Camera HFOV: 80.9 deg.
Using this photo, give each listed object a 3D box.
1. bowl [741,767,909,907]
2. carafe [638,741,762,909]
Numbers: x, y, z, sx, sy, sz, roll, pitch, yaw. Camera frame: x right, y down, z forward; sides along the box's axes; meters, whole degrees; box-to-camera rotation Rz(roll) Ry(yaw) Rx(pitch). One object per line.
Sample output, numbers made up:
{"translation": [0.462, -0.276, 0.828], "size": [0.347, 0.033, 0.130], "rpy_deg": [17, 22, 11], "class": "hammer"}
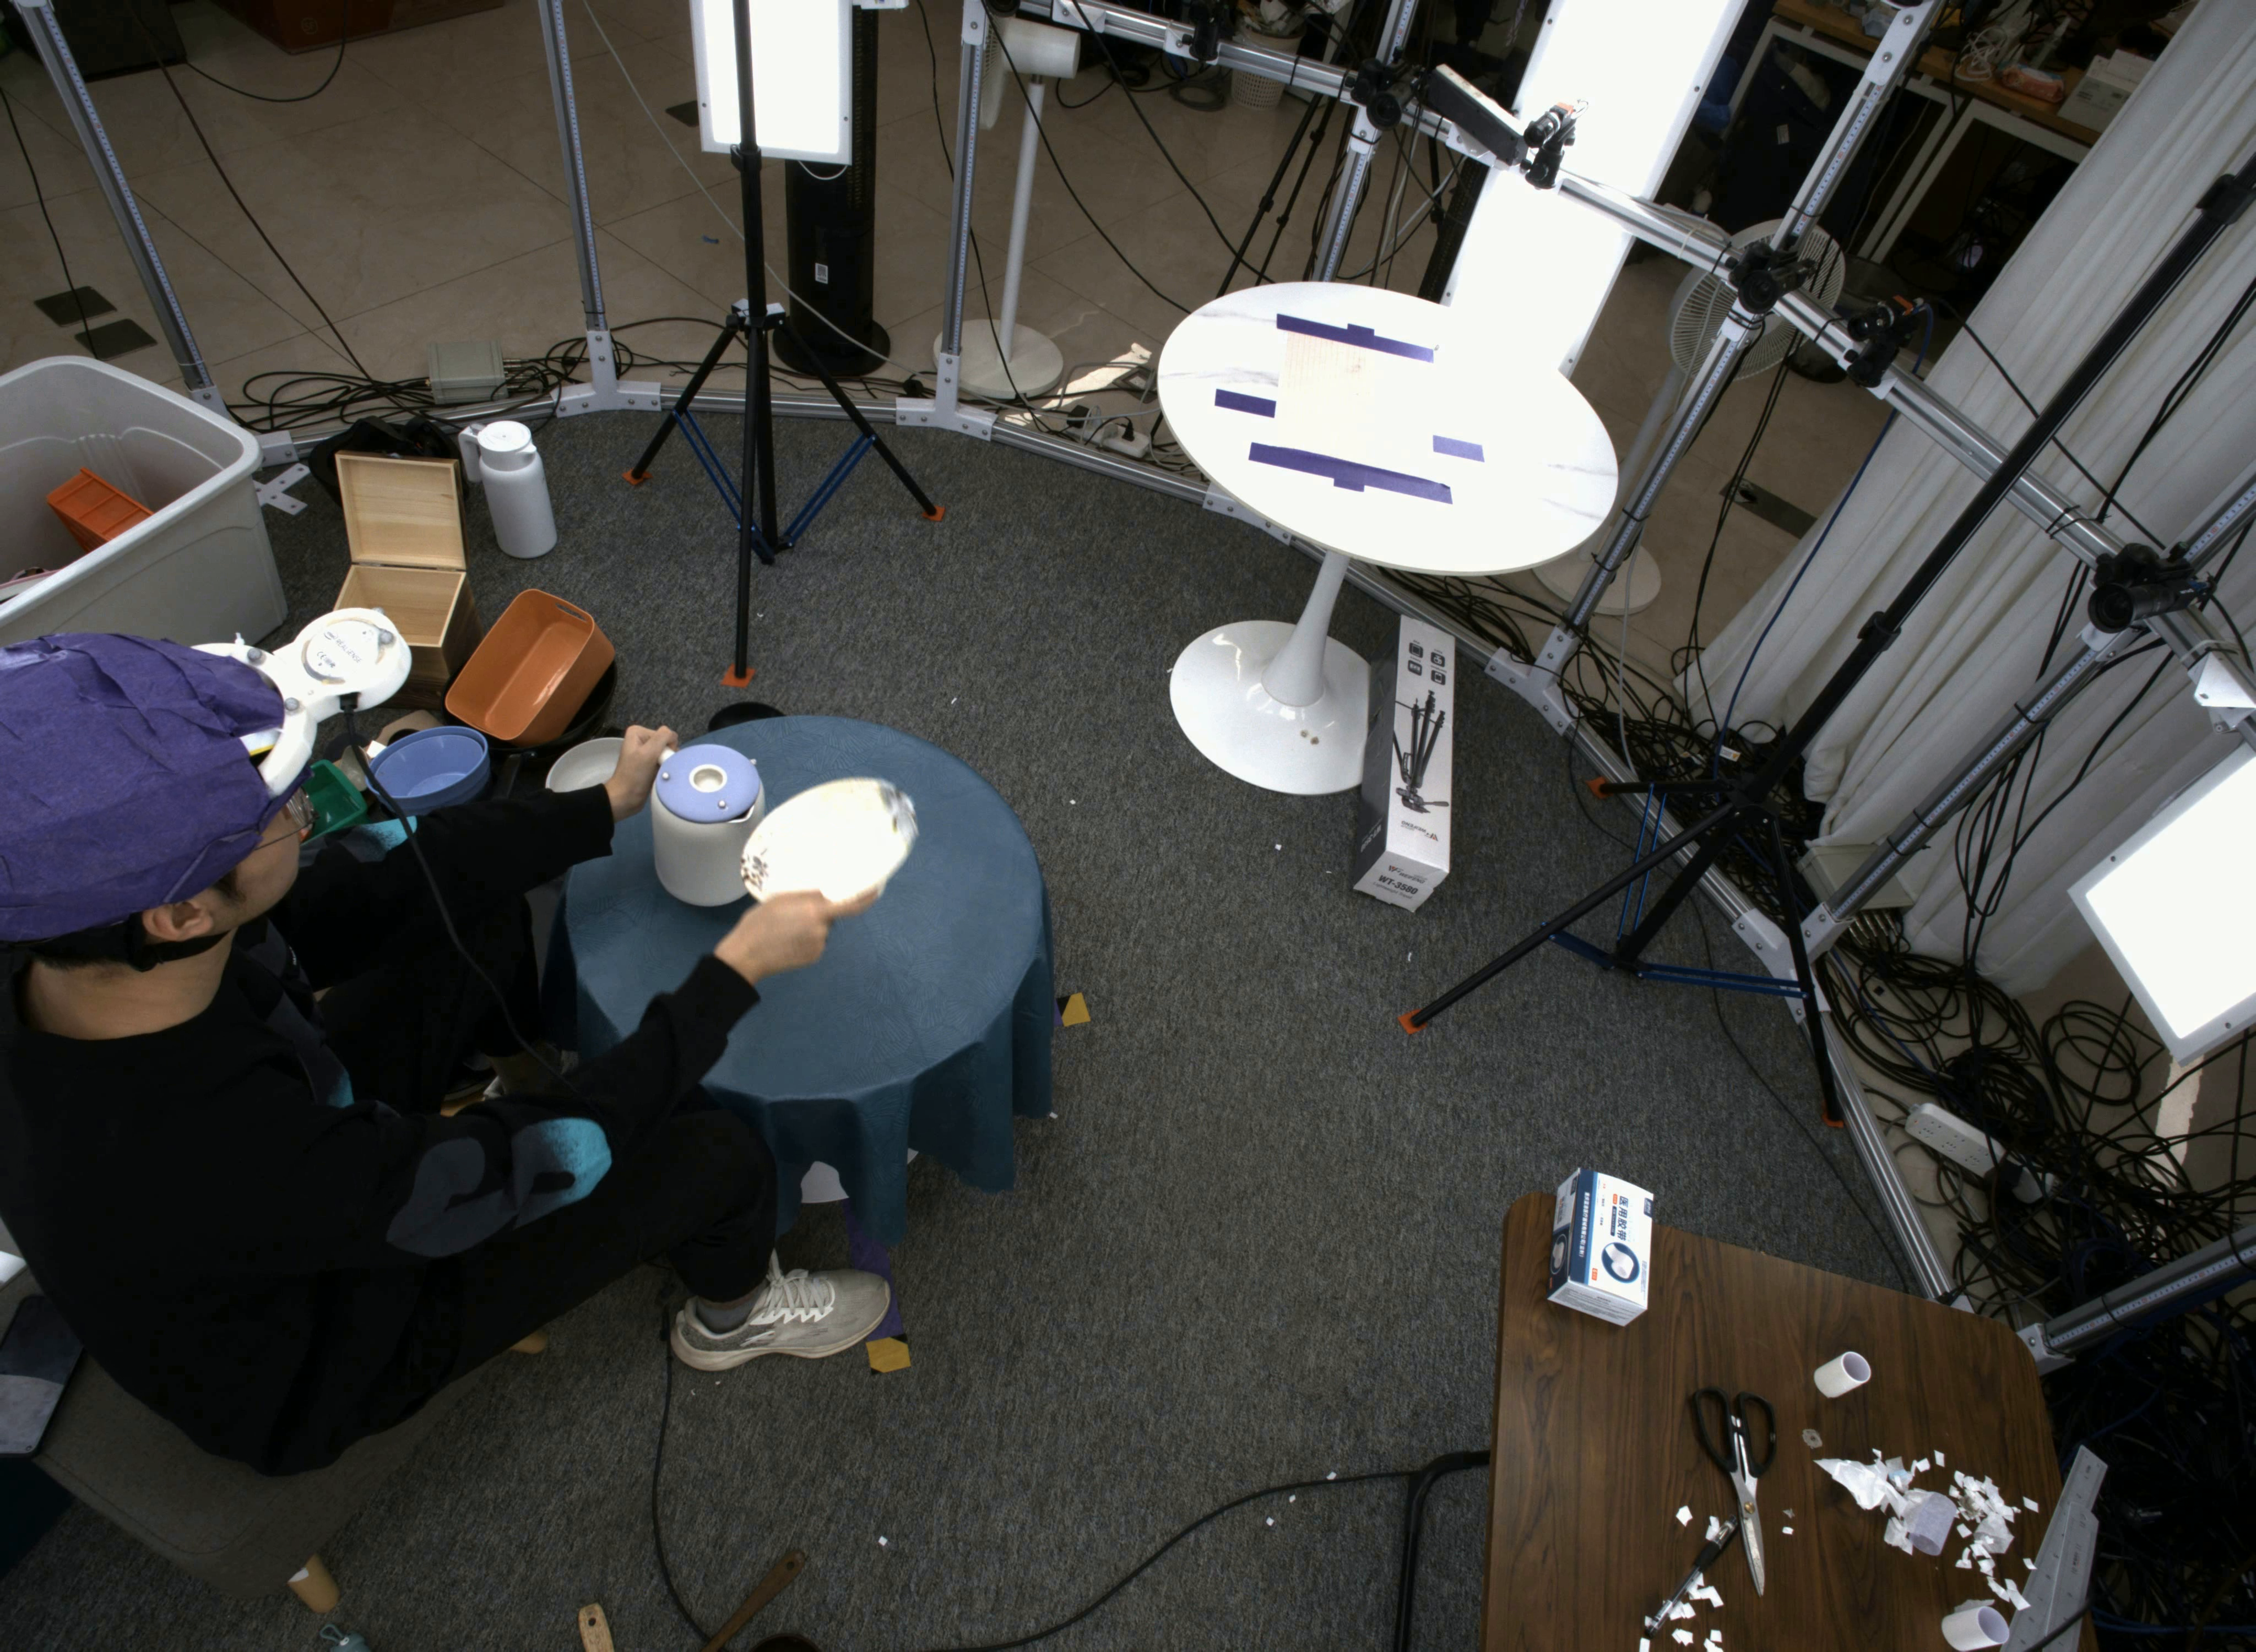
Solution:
{"translation": [-0.324, 0.032, 1.451], "size": [0.200, 0.081, 0.200], "rpy_deg": [-11, 45, 12], "class": "bowl"}
{"translation": [-0.528, -0.016, 1.564], "size": [0.187, 0.186, 0.132], "rpy_deg": [35, 50, 15], "class": "carafe"}
